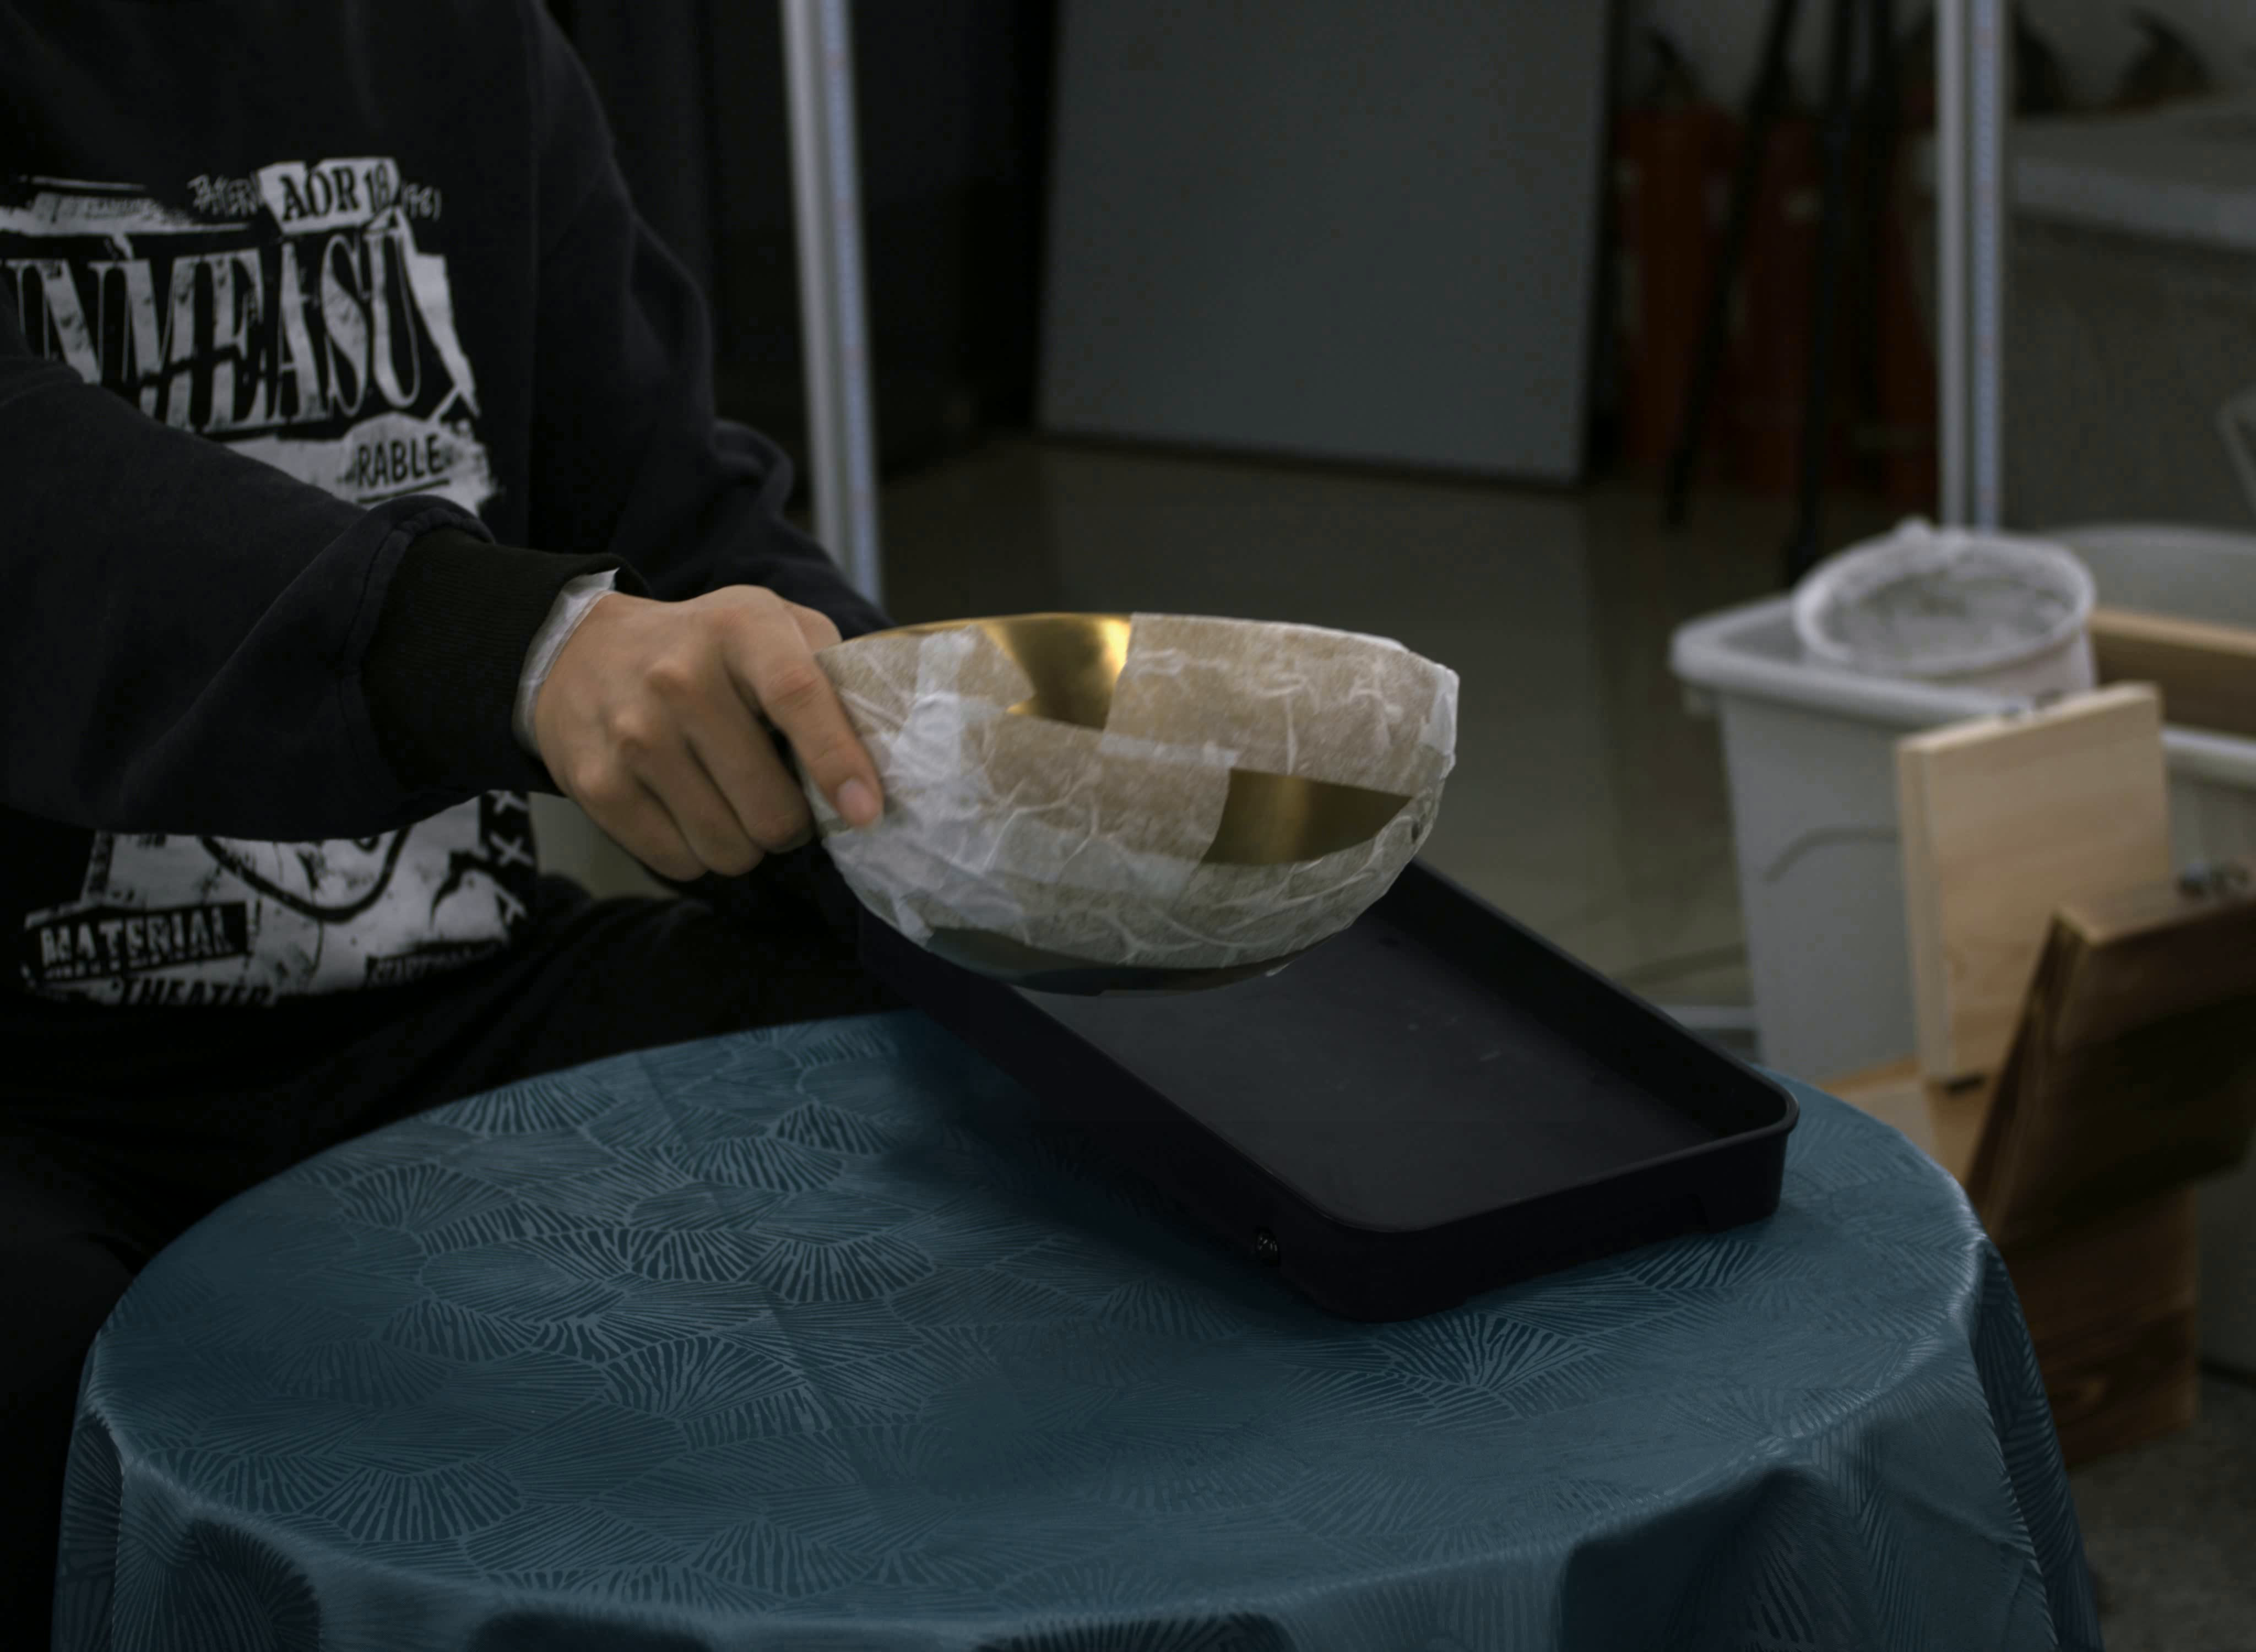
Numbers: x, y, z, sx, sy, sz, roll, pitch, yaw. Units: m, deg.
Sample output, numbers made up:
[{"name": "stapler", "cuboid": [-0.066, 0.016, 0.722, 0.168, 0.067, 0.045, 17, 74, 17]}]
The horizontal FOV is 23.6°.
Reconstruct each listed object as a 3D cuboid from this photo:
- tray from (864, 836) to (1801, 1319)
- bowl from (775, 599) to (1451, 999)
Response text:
[{"name": "tray", "cuboid": [0.061, 0.065, 1.776, 0.180, 0.037, 0.321, -14, 27, -29]}, {"name": "bowl", "cuboid": [-0.006, 0.000, 1.588, 0.212, 0.096, 0.215, 0, -10, -1]}]
